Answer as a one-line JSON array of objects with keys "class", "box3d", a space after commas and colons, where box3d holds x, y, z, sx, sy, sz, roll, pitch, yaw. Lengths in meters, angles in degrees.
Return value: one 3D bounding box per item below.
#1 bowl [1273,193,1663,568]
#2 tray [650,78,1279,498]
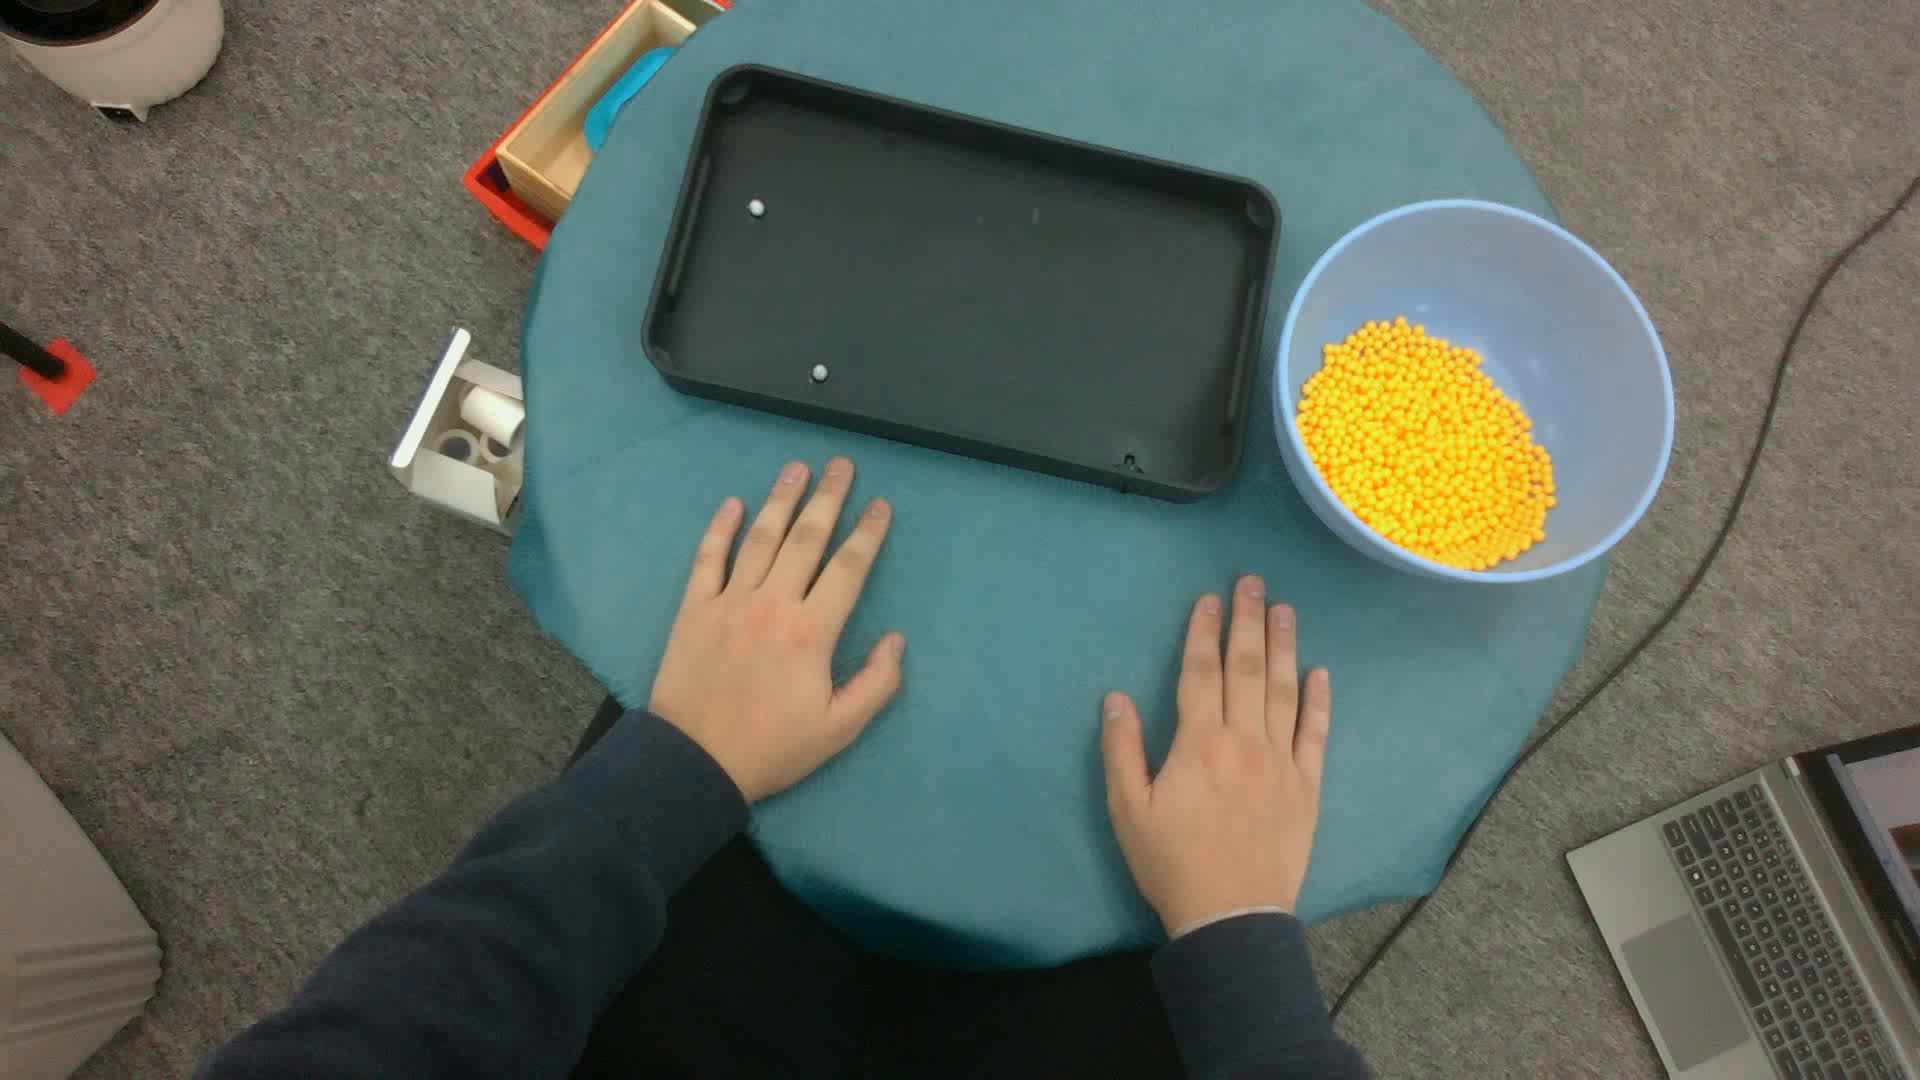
[{"class": "bowl", "box3d": [0.249, -0.071, 0.723, 0.196, 0.095, 0.197, 1, 75, -5]}, {"class": "tray", "box3d": [0.006, -0.137, 0.753, 0.318, 0.037, 0.185, 11, 76, -1]}]
